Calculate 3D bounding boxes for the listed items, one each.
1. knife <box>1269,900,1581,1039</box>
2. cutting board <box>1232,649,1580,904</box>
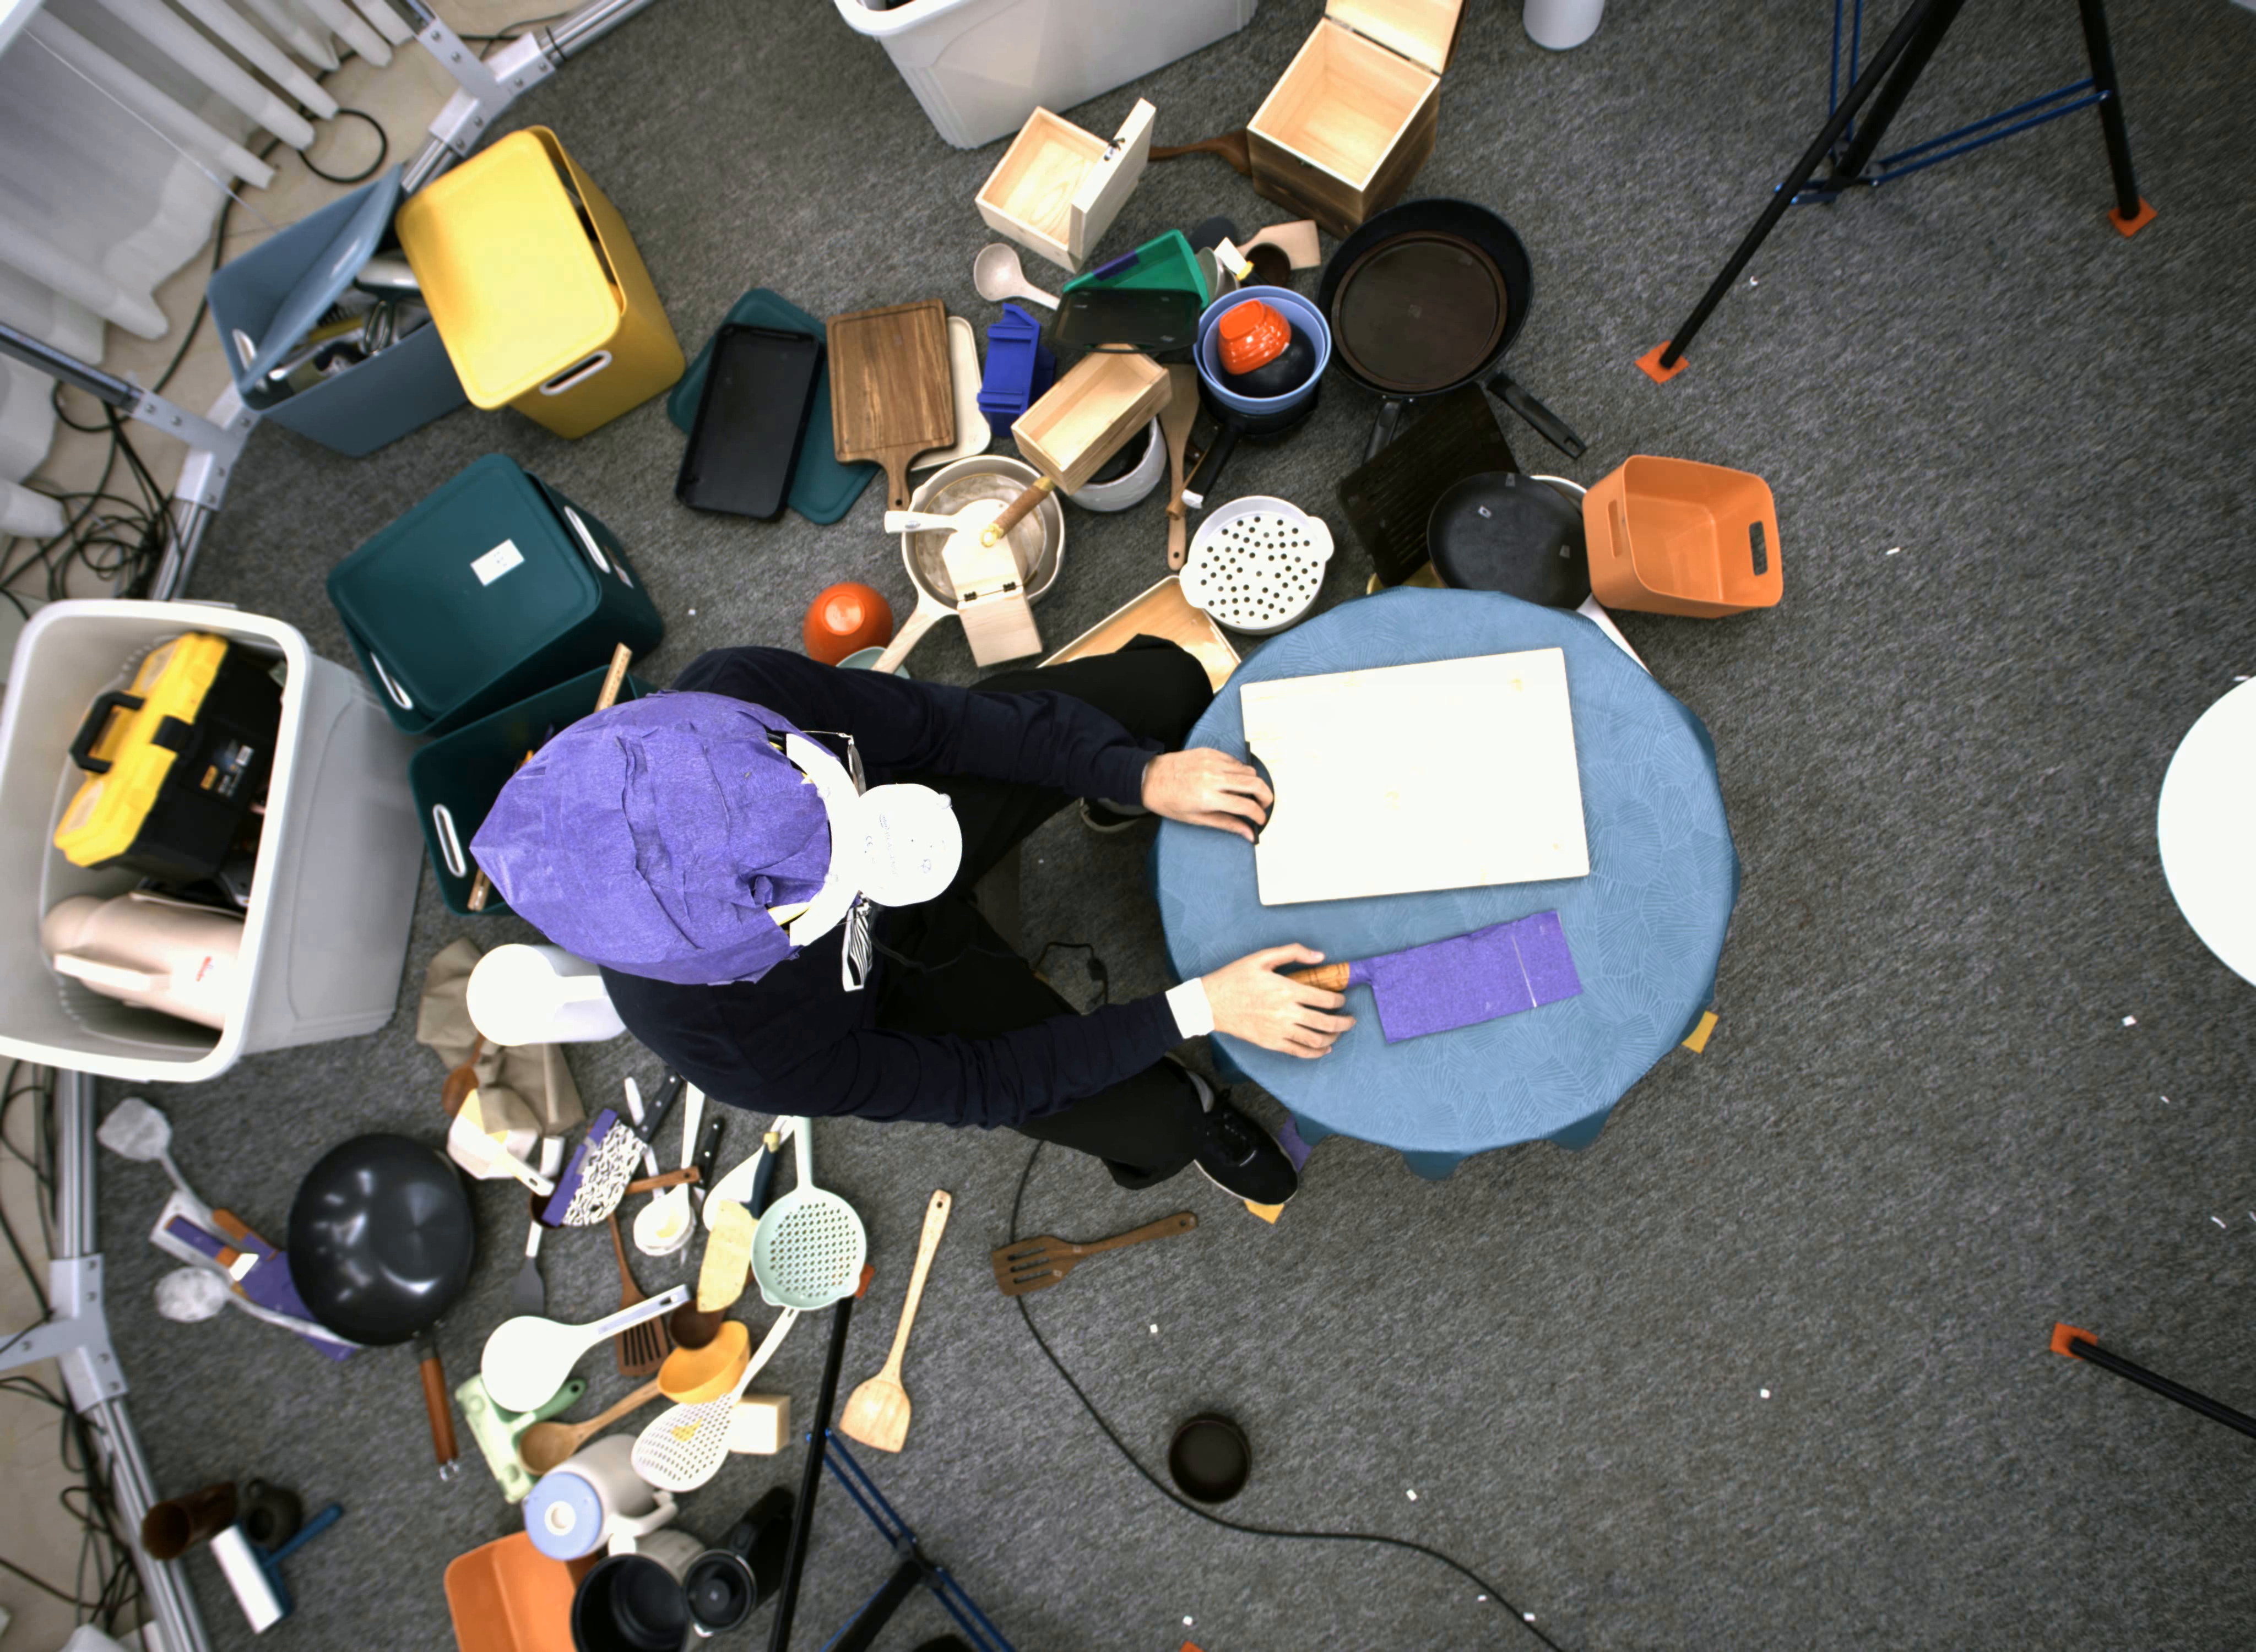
[{"bbox_3d":[0.308,0.165,1.434,0.317,0.032,0.103,-16,83,9],"label":"knife"},{"bbox_3d":[0.293,-0.053,1.454,0.350,0.023,0.249,-6,86,11],"label":"cutting board"}]
